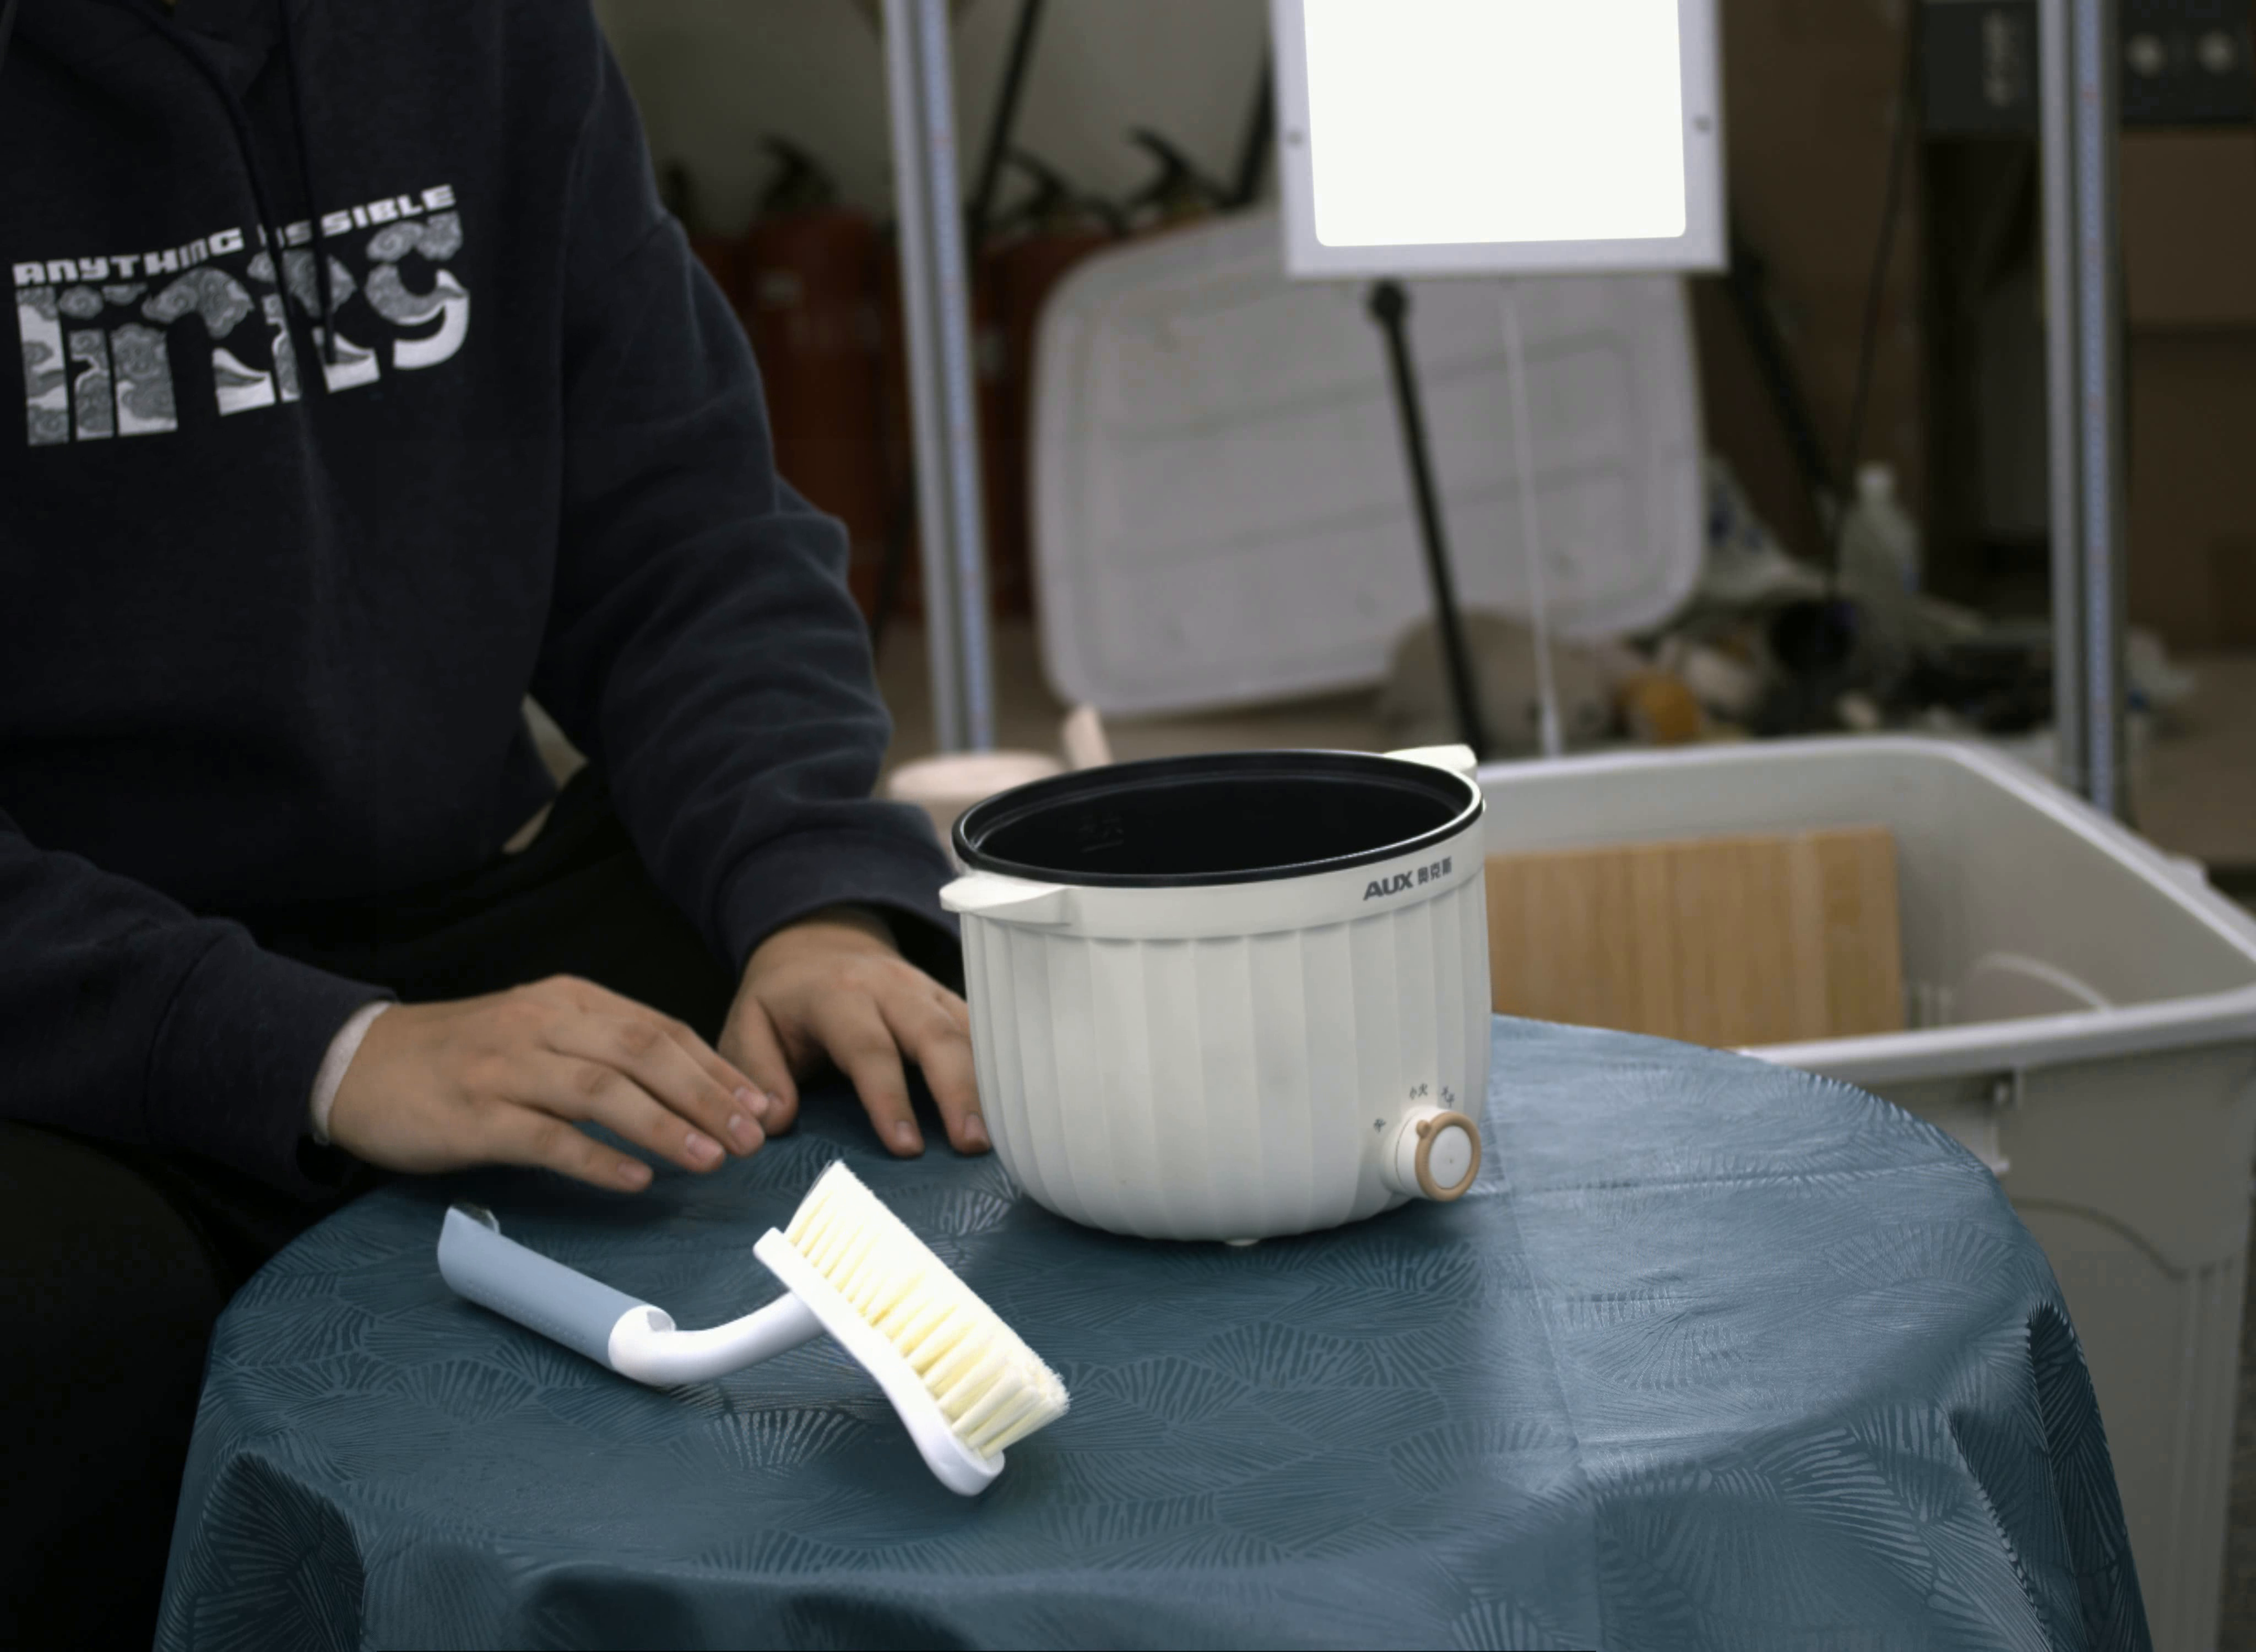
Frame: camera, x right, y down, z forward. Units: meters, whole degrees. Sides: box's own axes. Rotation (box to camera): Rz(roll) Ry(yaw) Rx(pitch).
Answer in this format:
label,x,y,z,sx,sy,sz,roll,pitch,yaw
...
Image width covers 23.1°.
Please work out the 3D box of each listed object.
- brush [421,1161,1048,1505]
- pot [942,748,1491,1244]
label,x,y,z,sx,sy,sz,roll,pitch,yaw
brush,-0.123,0.135,1.735,0.082,0.083,0.332,-17,19,-30
pot,0.039,0.059,1.869,0.234,0.143,0.195,-18,15,-40
